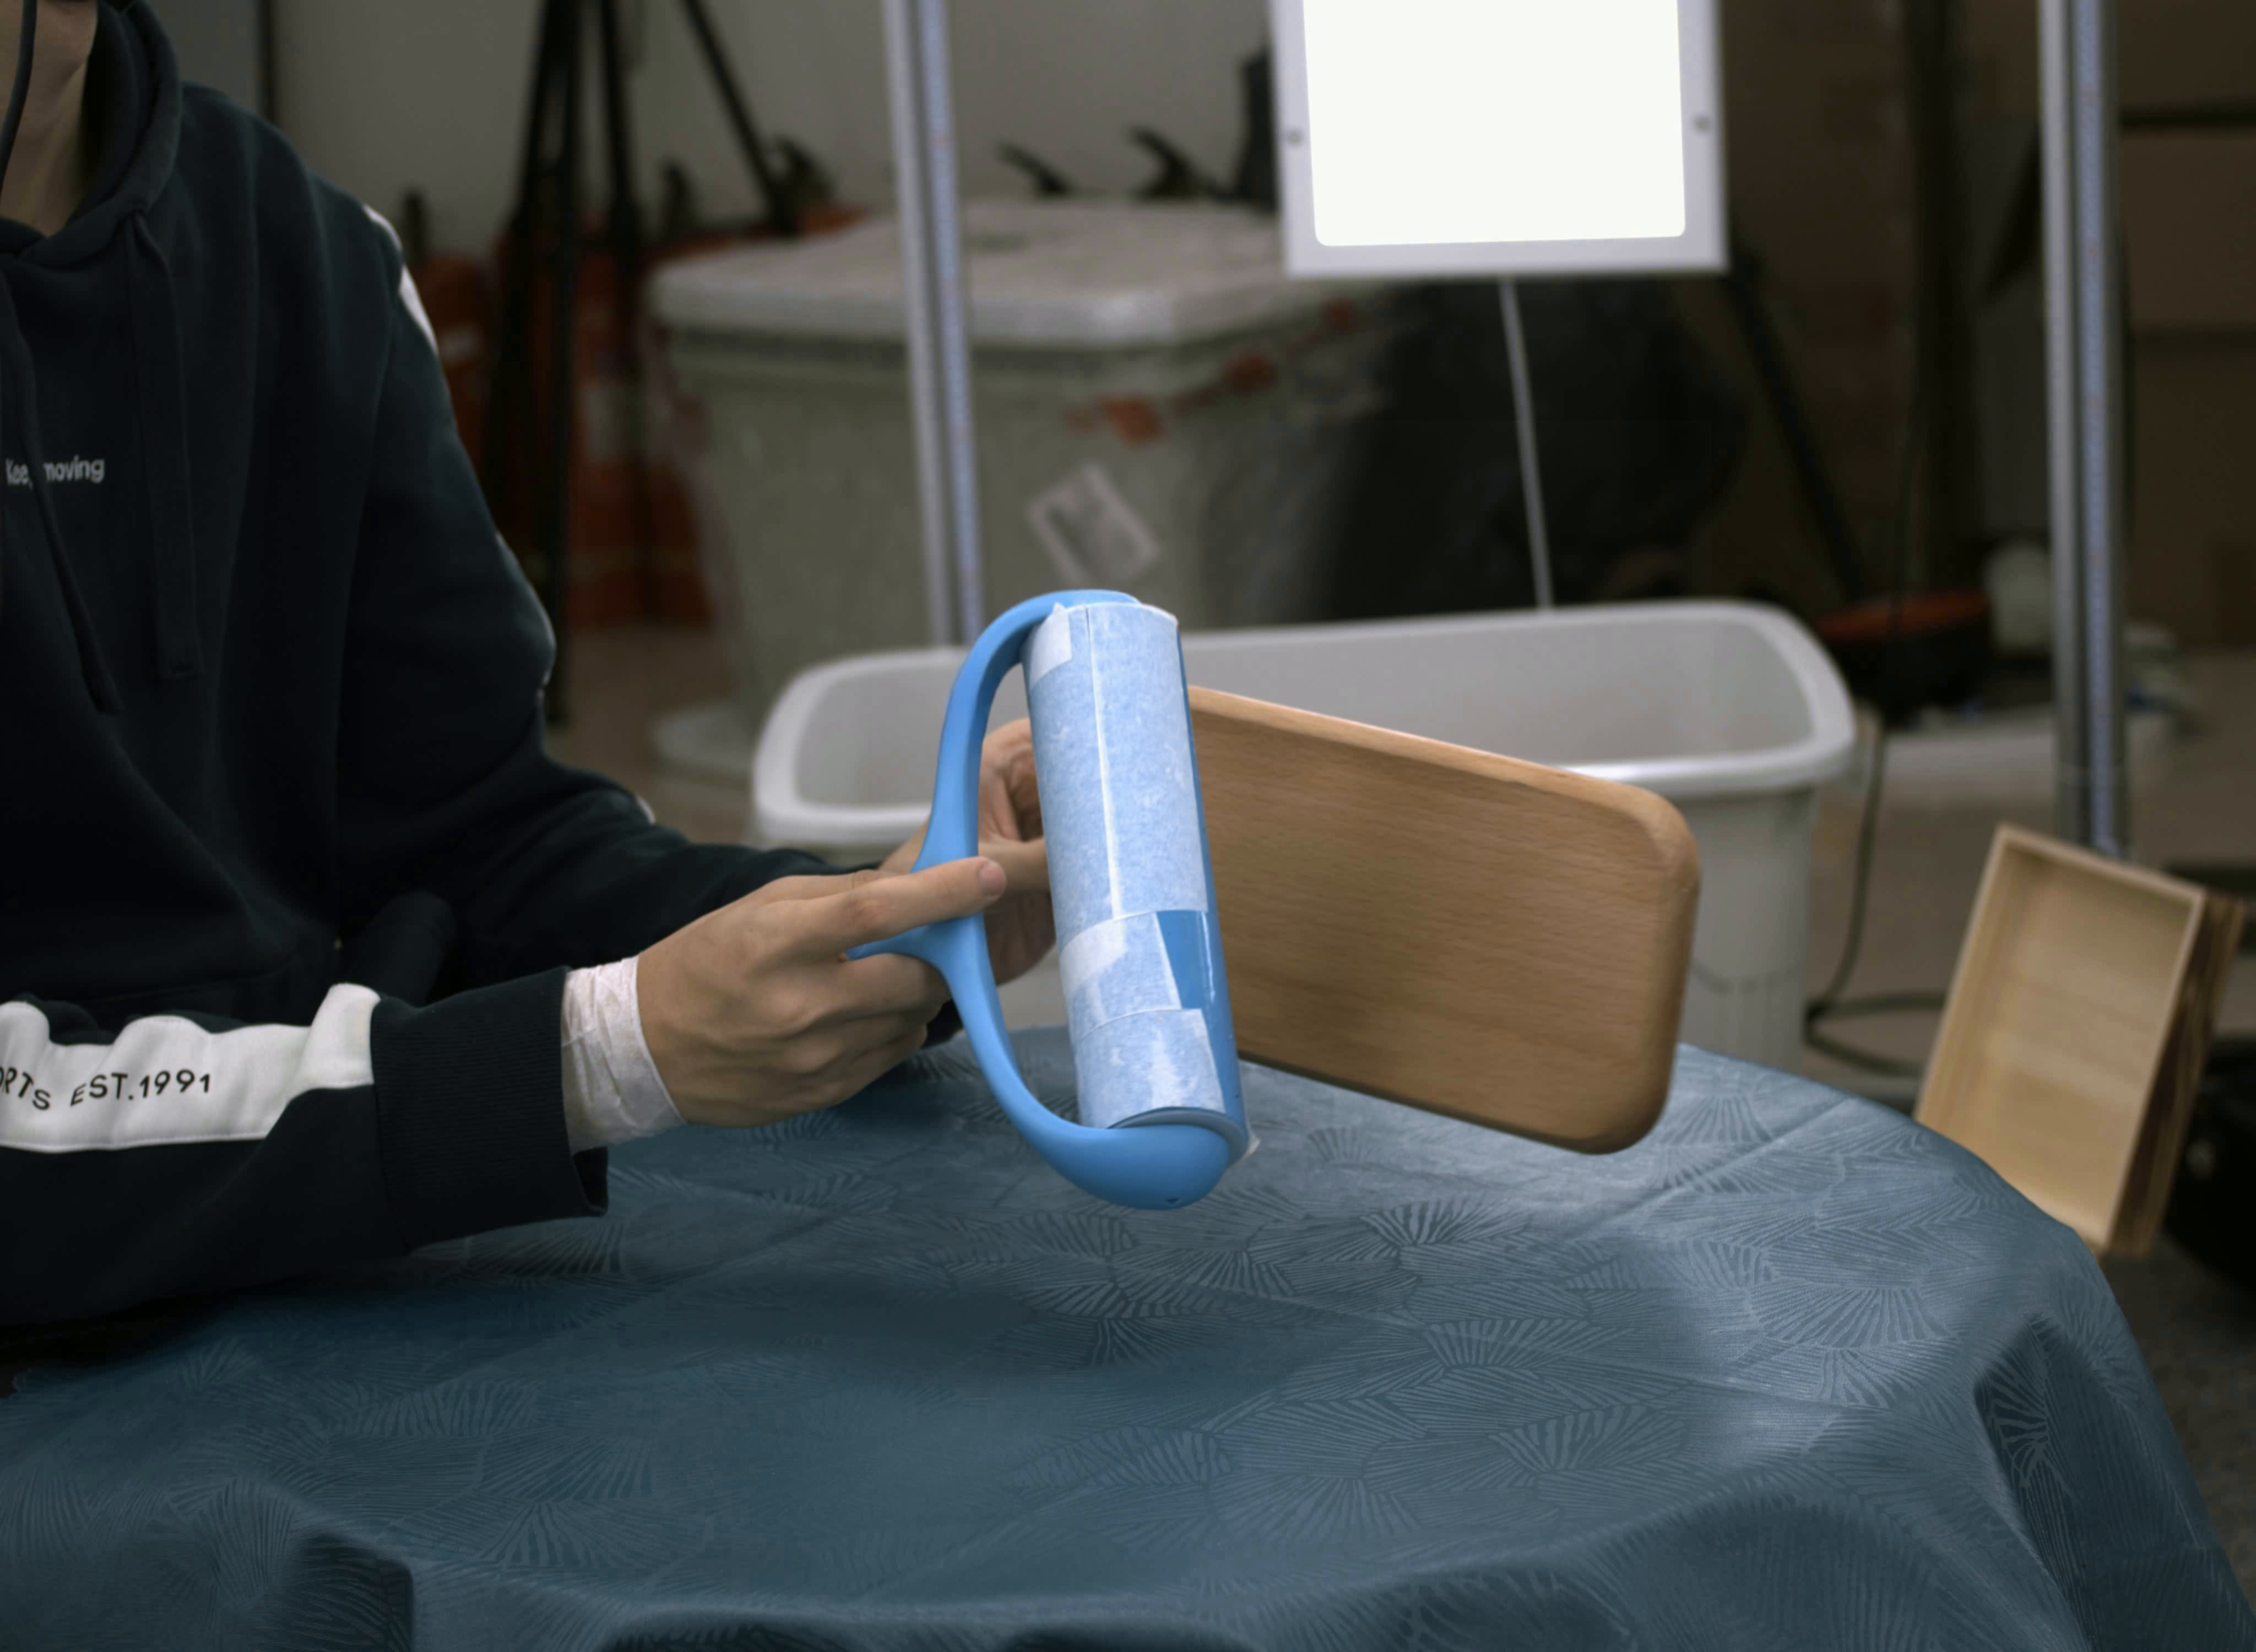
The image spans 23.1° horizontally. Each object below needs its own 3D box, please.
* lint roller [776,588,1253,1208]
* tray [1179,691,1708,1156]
[{"bbox_3d":[-0.051,0.041,1.810,0.183,0.229,0.067,-23,-33,20],"label":"lint roller"},{"bbox_3d":[0.088,0.031,1.896,0.256,0.131,0.022,11,10,37],"label":"tray"}]
